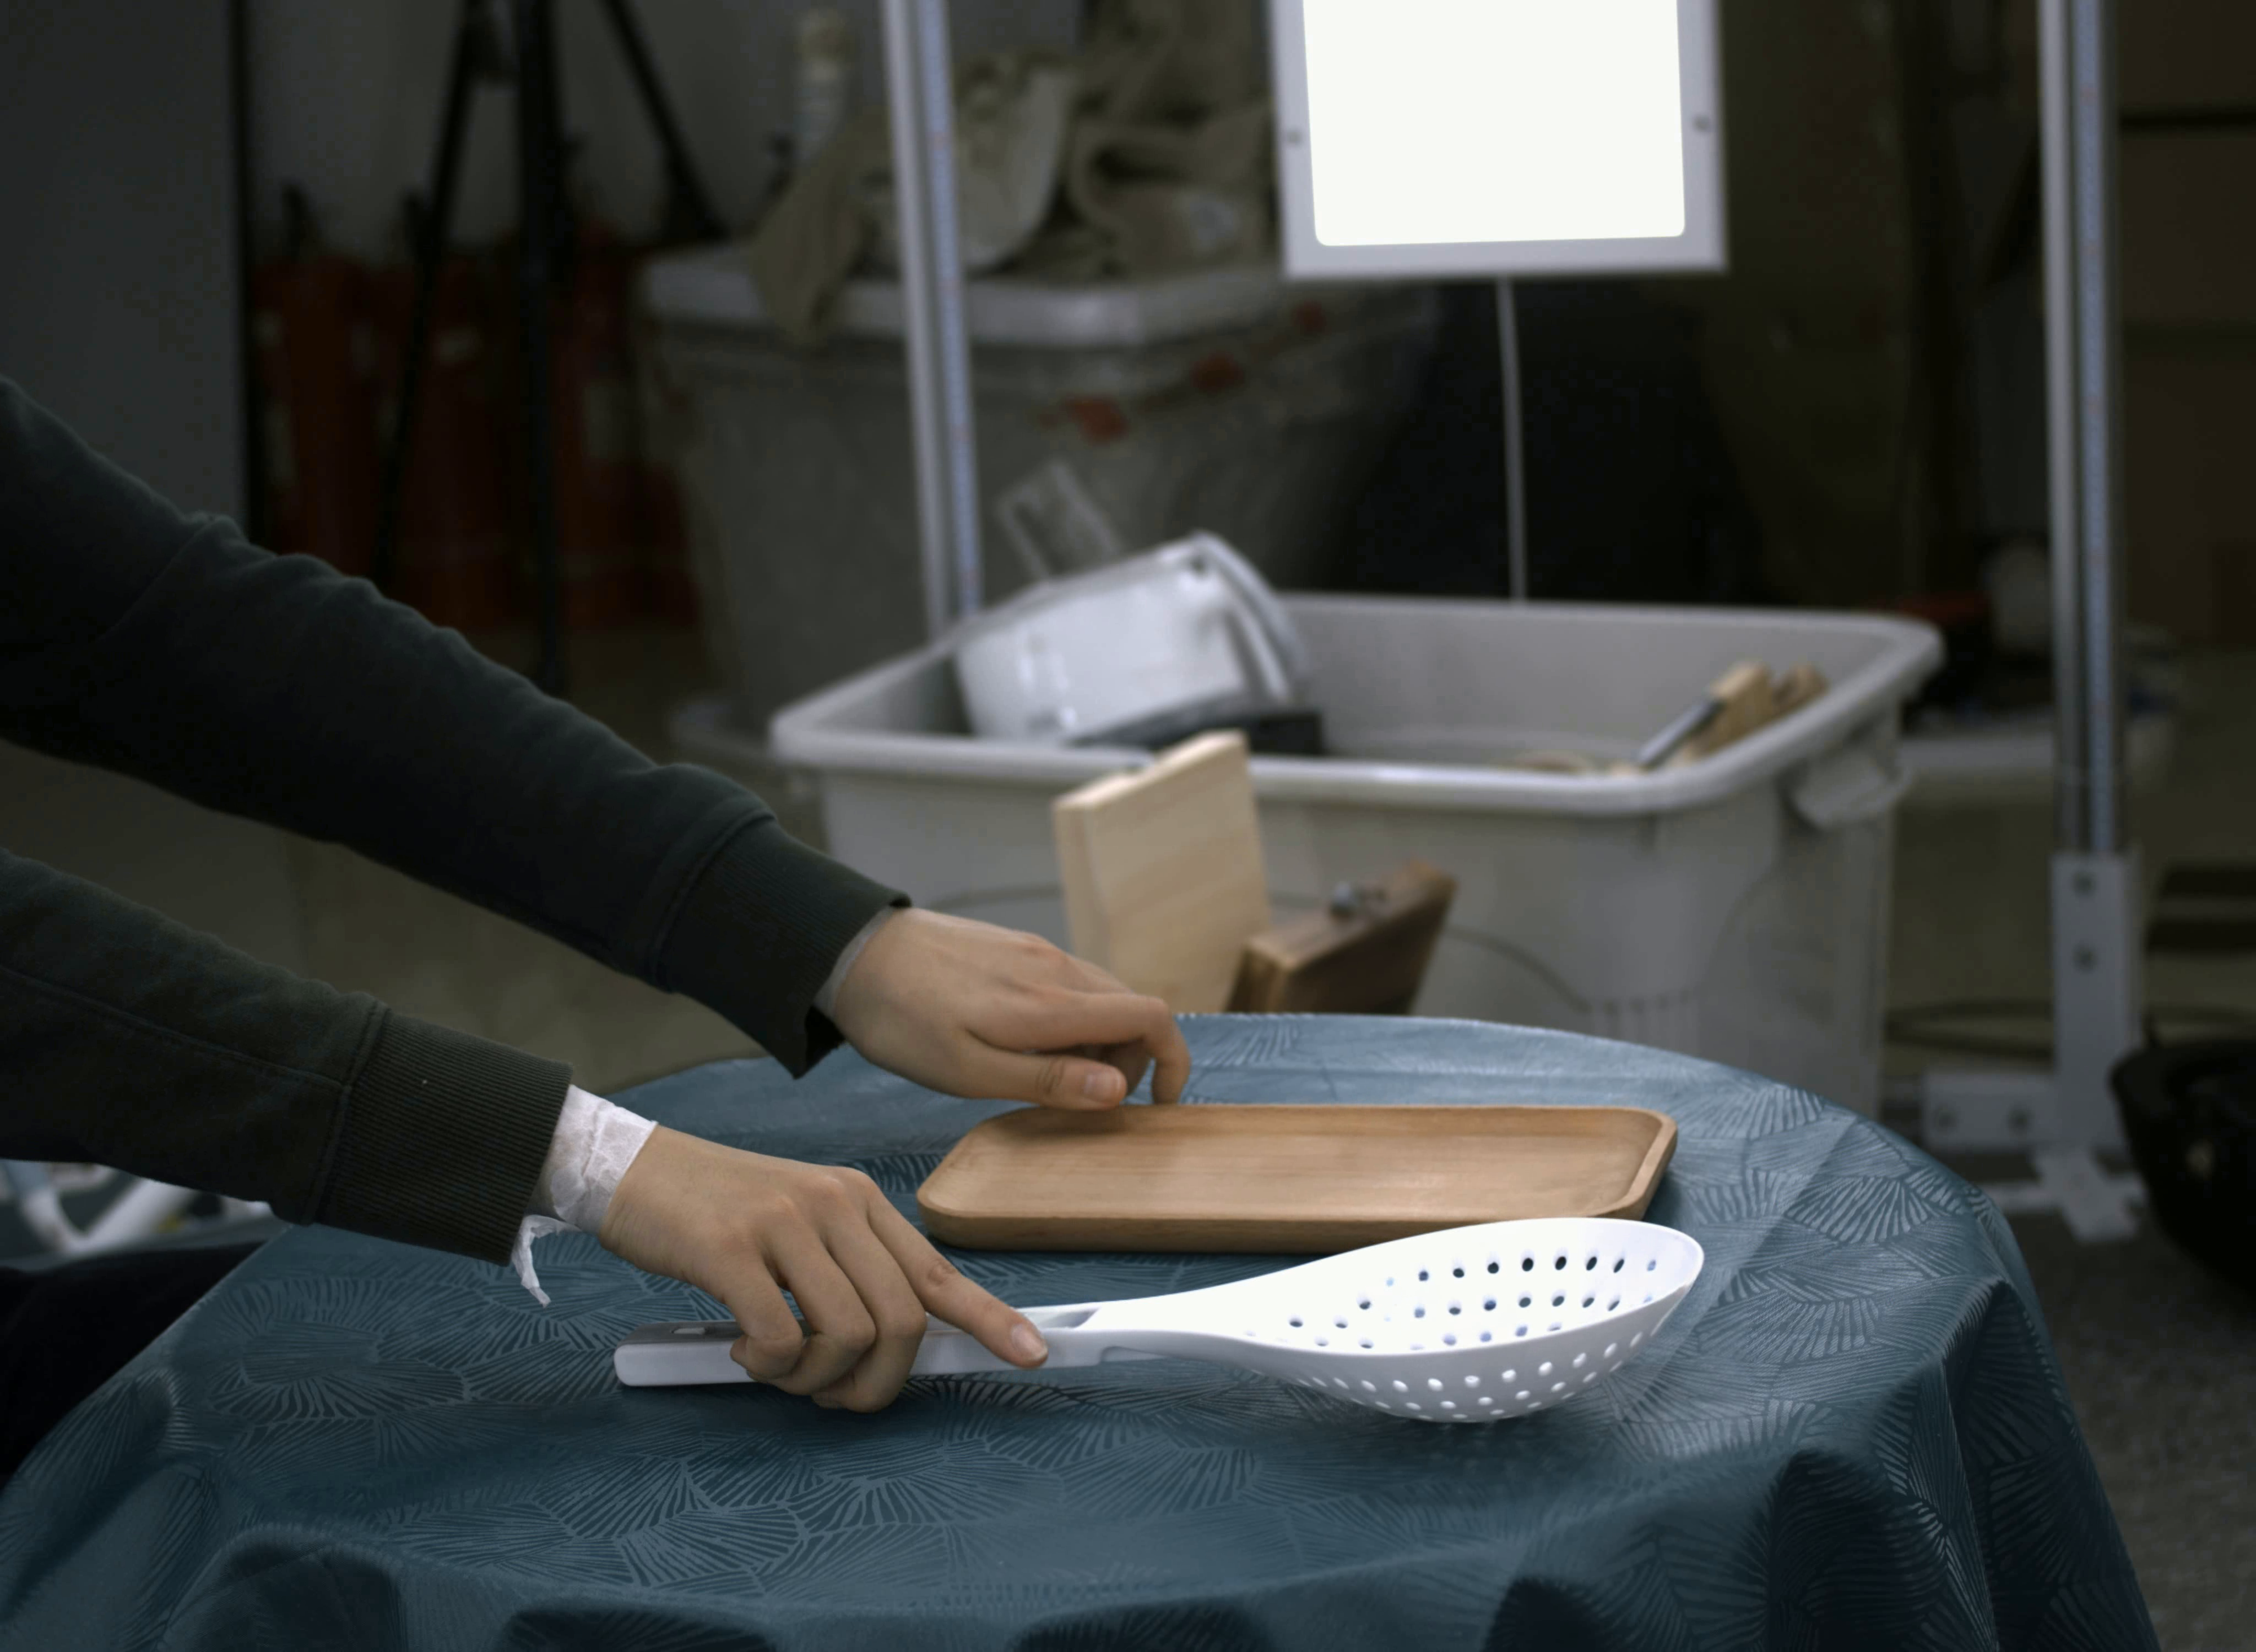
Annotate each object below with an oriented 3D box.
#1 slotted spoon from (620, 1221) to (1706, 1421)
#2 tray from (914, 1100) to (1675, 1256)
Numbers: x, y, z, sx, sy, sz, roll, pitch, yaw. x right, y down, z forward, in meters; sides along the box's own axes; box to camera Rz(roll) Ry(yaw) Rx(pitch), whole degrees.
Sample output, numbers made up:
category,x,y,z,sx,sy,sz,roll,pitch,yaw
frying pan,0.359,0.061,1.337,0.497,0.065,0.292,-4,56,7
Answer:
category,x,y,z,sx,sy,sz,roll,pitch,yaw
slotted spoon,0.006,0.153,1.689,0.354,0.046,0.134,-1,11,21
tray,0.058,0.119,1.871,0.253,0.023,0.128,-2,12,17
